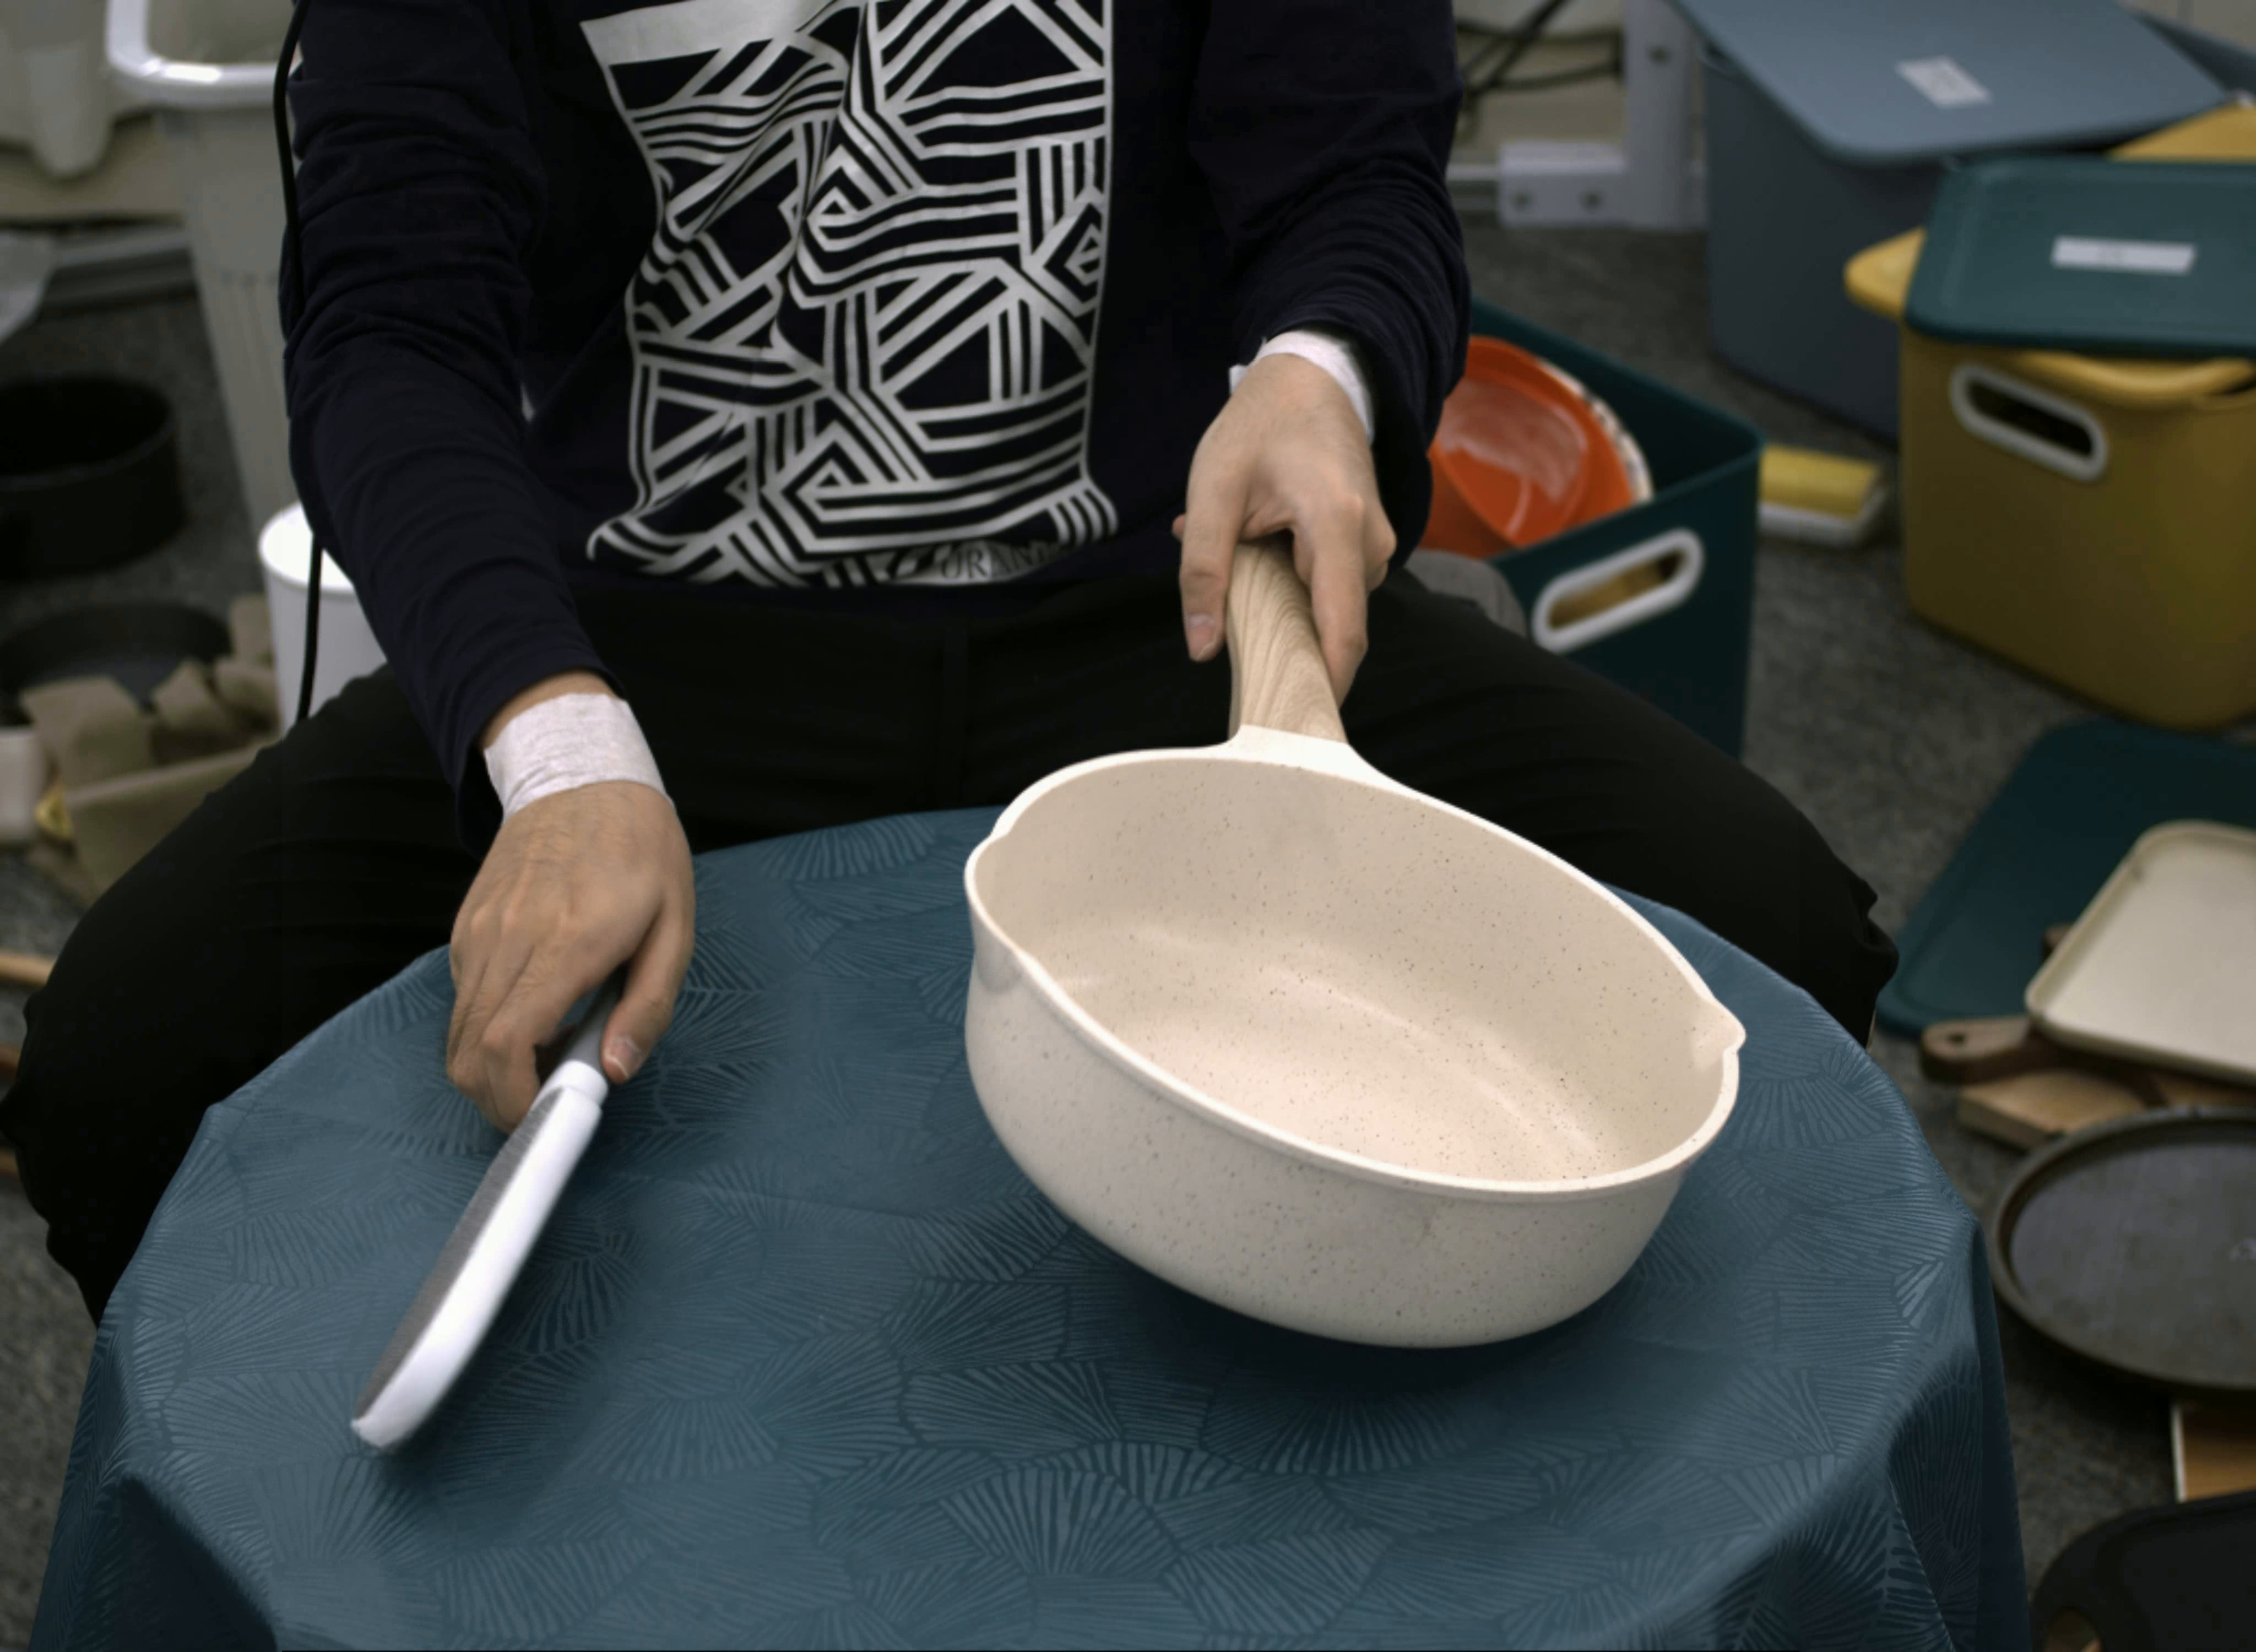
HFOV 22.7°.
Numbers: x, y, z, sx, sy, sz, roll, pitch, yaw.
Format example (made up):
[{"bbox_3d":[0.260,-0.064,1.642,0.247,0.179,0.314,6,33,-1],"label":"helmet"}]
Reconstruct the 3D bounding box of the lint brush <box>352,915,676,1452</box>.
[{"bbox_3d":[-0.195,0.109,1.840,0.021,0.059,0.314,36,28,-8],"label":"lint brush"}]

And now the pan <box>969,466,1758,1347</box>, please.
[{"bbox_3d":[0.057,0.023,1.877,0.263,0.101,0.441,8,29,-13],"label":"pan"}]
